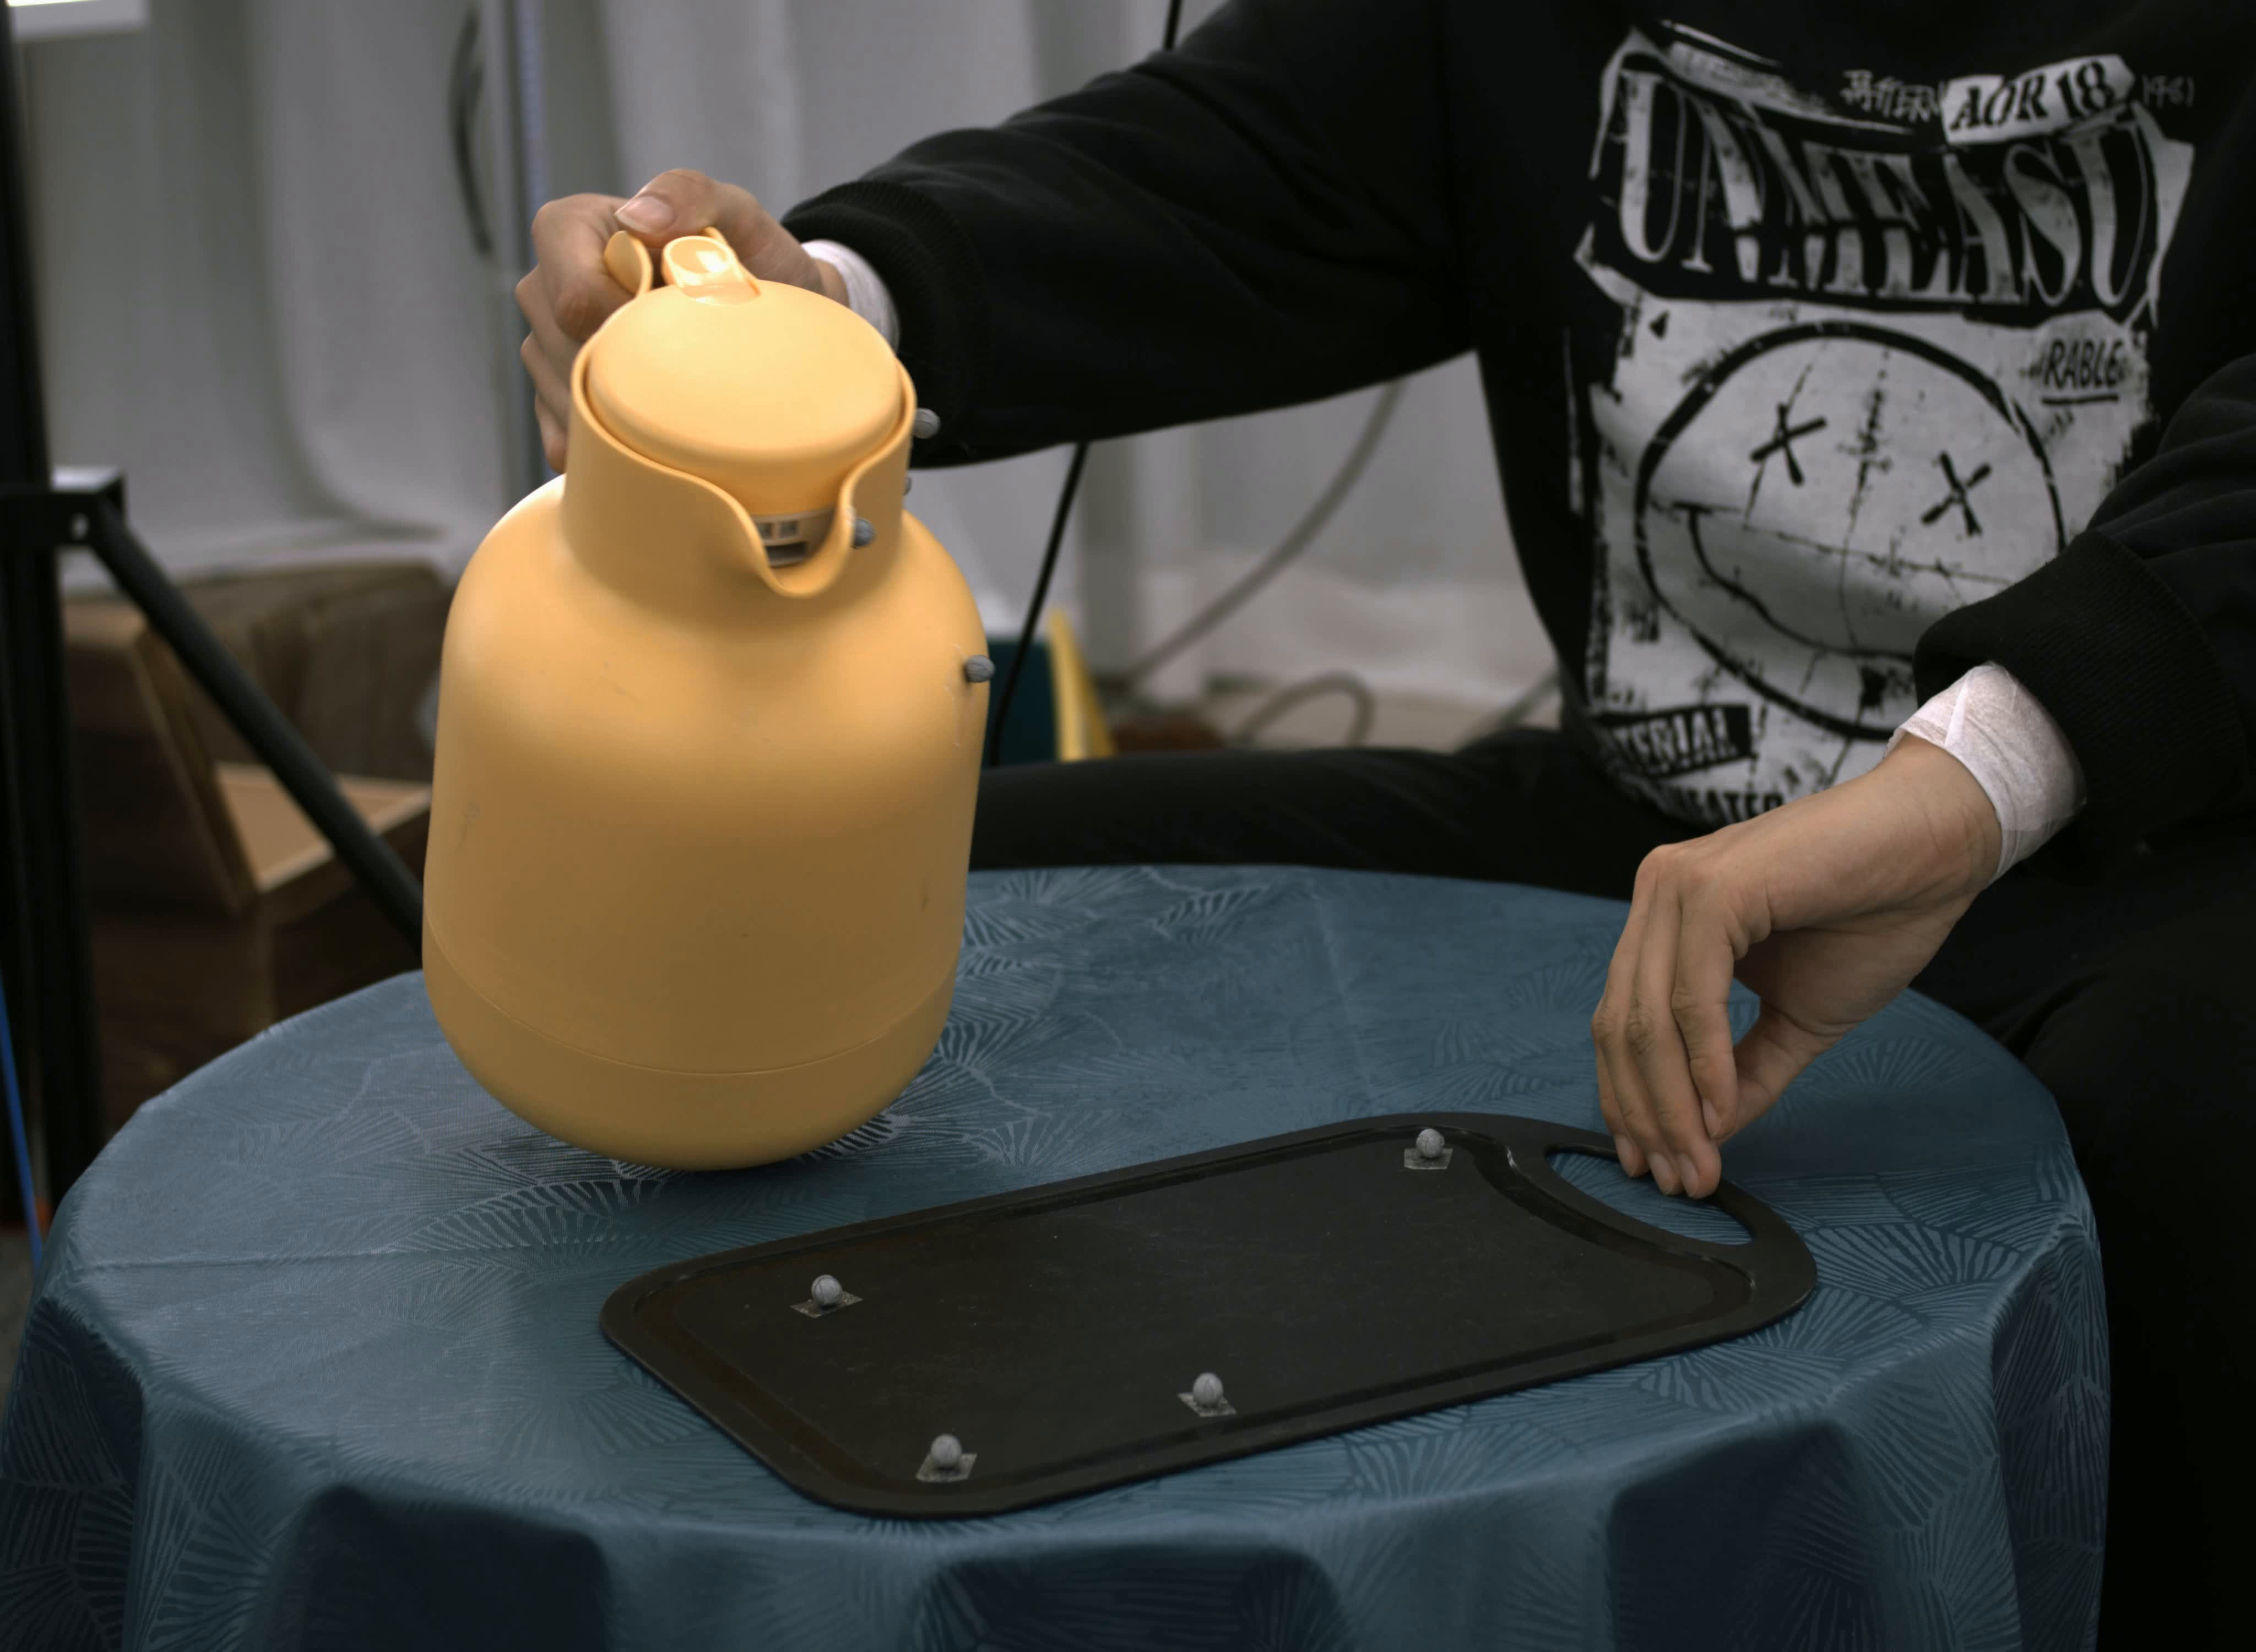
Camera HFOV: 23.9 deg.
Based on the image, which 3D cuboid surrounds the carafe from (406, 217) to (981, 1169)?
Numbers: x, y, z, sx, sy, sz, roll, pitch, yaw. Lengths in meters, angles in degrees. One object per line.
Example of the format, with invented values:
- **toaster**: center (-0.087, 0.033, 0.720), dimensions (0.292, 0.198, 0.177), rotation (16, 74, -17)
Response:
- **carafe**: center (-0.127, -0.048, 1.579), dimensions (0.161, 0.260, 0.206), rotation (-1, 39, -16)

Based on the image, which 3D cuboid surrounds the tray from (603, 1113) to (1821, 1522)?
- **tray**: center (0.029, 0.128, 1.467), dimensions (0.319, 0.010, 0.215), rotation (-10, 18, -24)
